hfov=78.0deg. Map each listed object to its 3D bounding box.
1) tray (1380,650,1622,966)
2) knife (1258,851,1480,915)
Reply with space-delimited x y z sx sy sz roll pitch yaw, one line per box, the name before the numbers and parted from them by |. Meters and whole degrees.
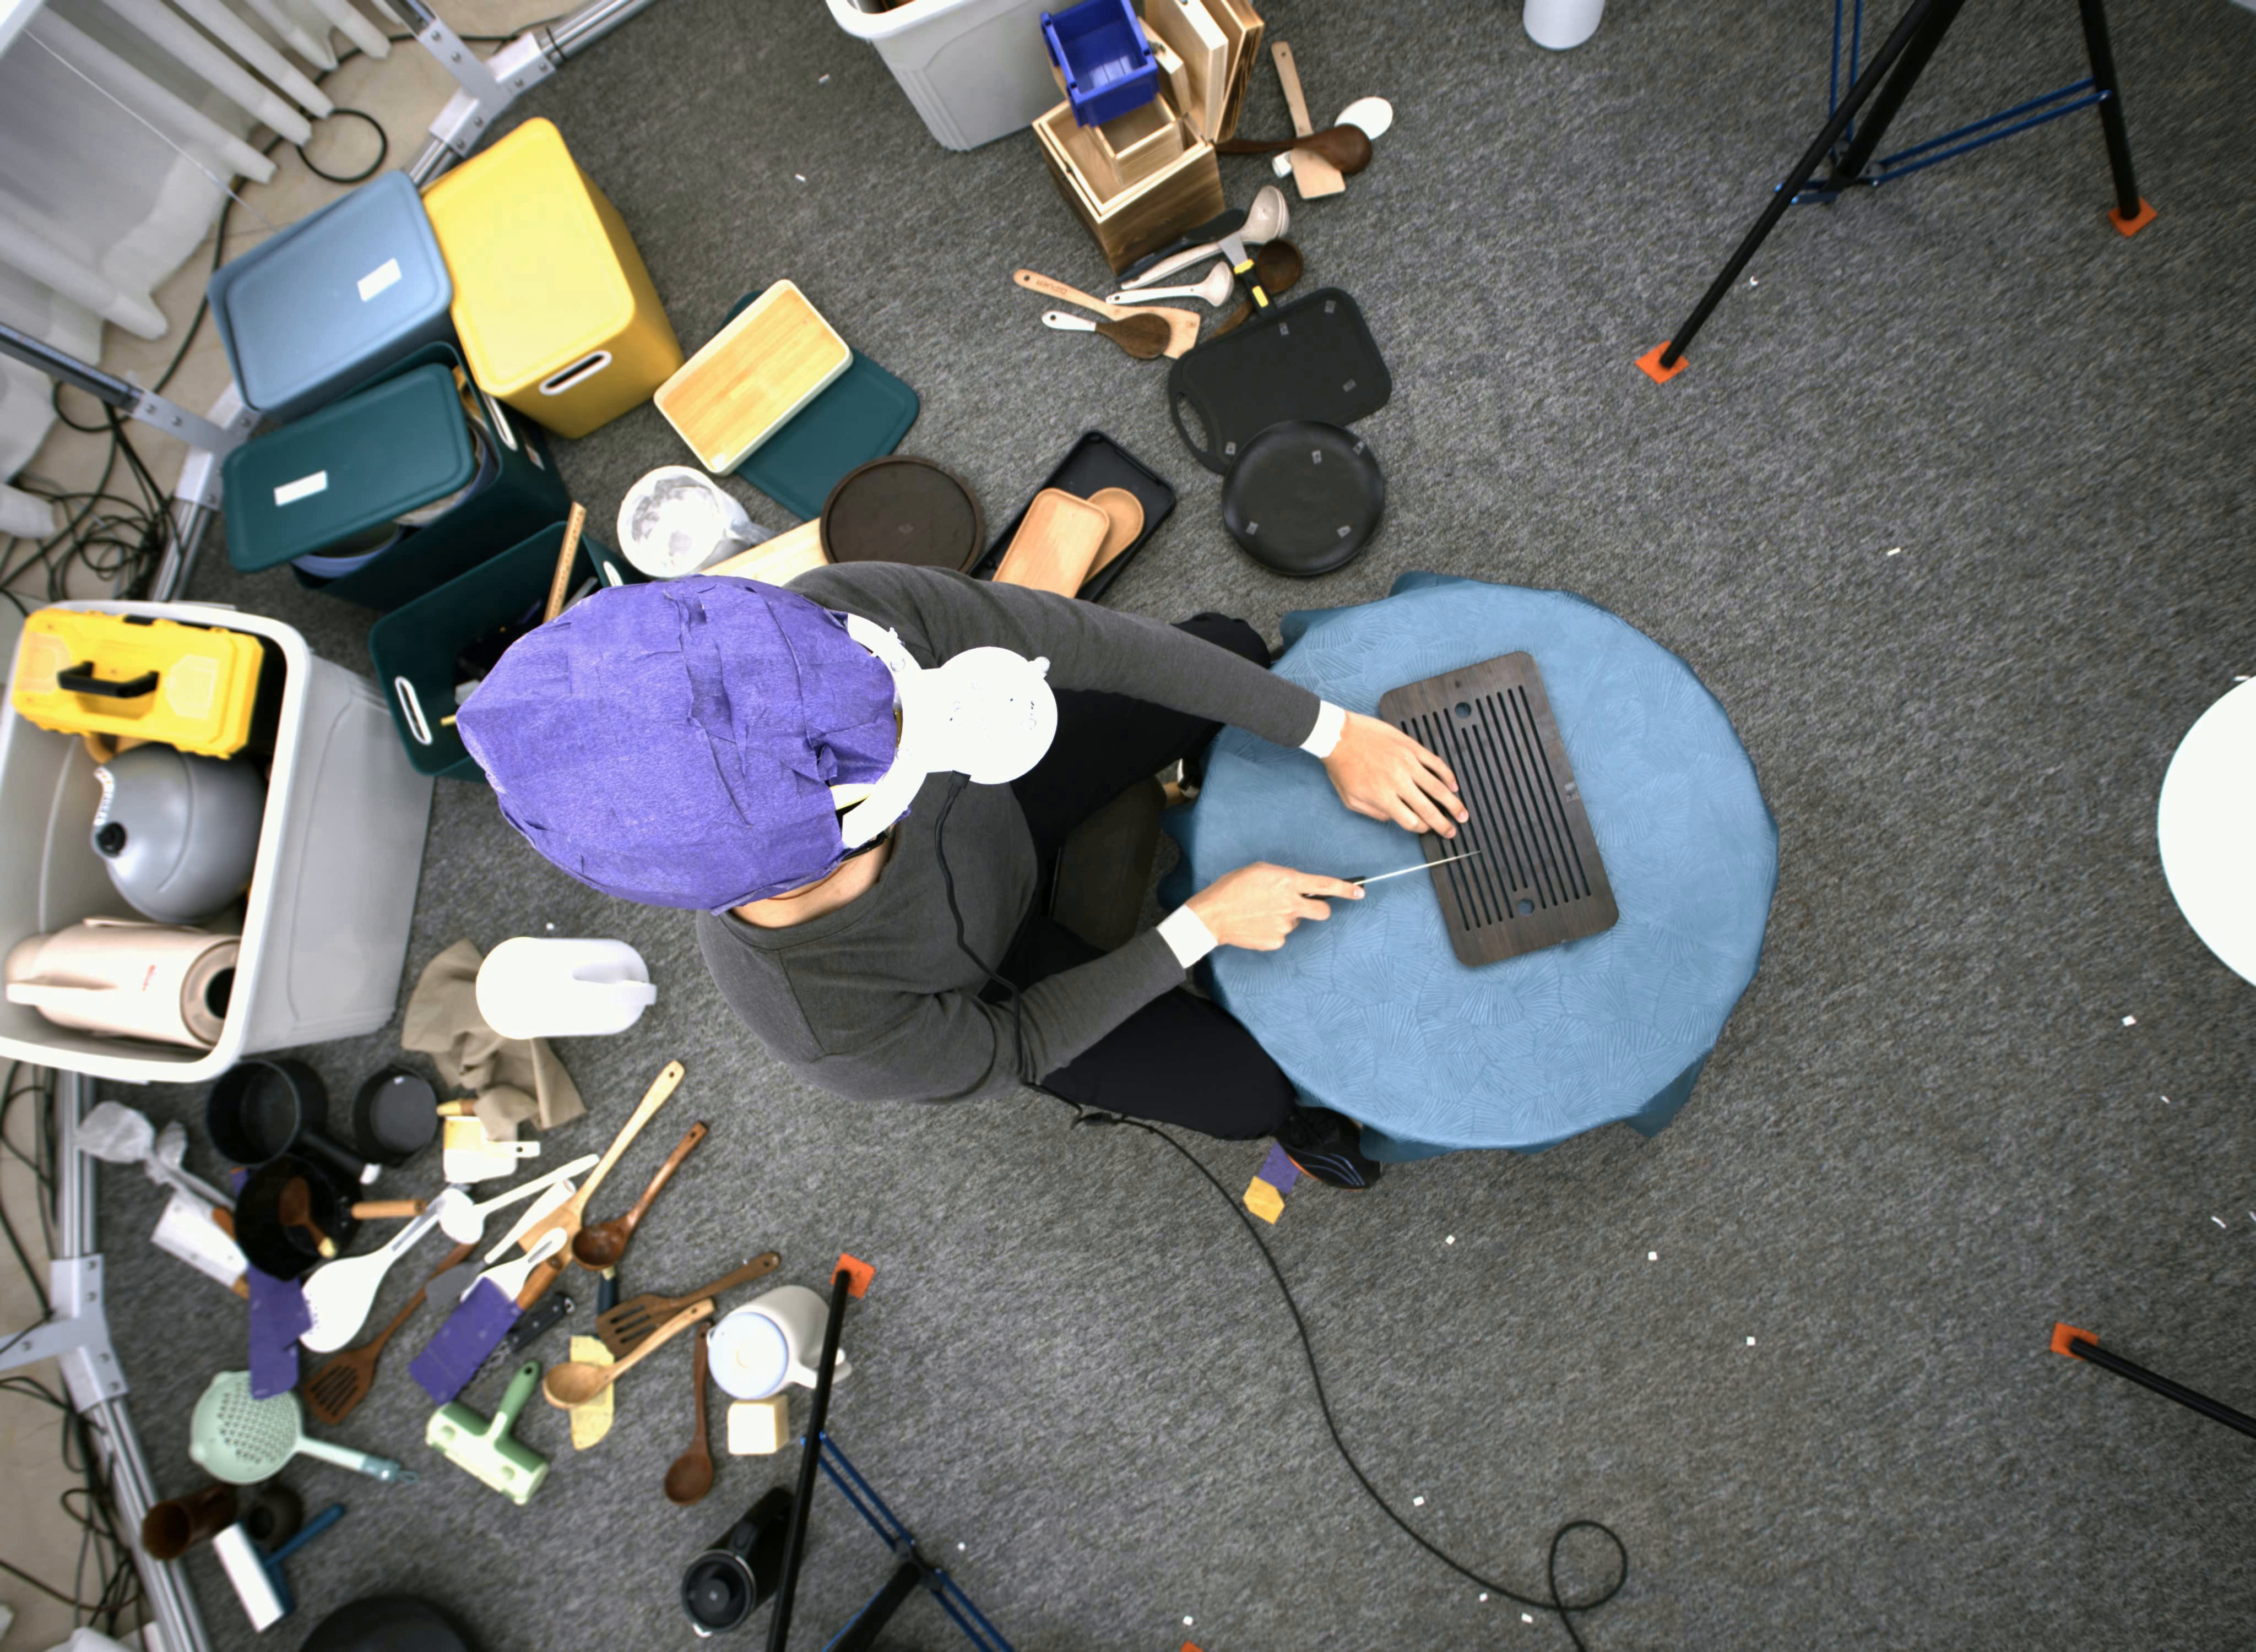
tray | 0.387 -0.022 1.434 0.171 0.018 0.304 -17 84 10
knife | 0.251 0.055 1.431 0.239 0.024 0.016 -15 85 4
